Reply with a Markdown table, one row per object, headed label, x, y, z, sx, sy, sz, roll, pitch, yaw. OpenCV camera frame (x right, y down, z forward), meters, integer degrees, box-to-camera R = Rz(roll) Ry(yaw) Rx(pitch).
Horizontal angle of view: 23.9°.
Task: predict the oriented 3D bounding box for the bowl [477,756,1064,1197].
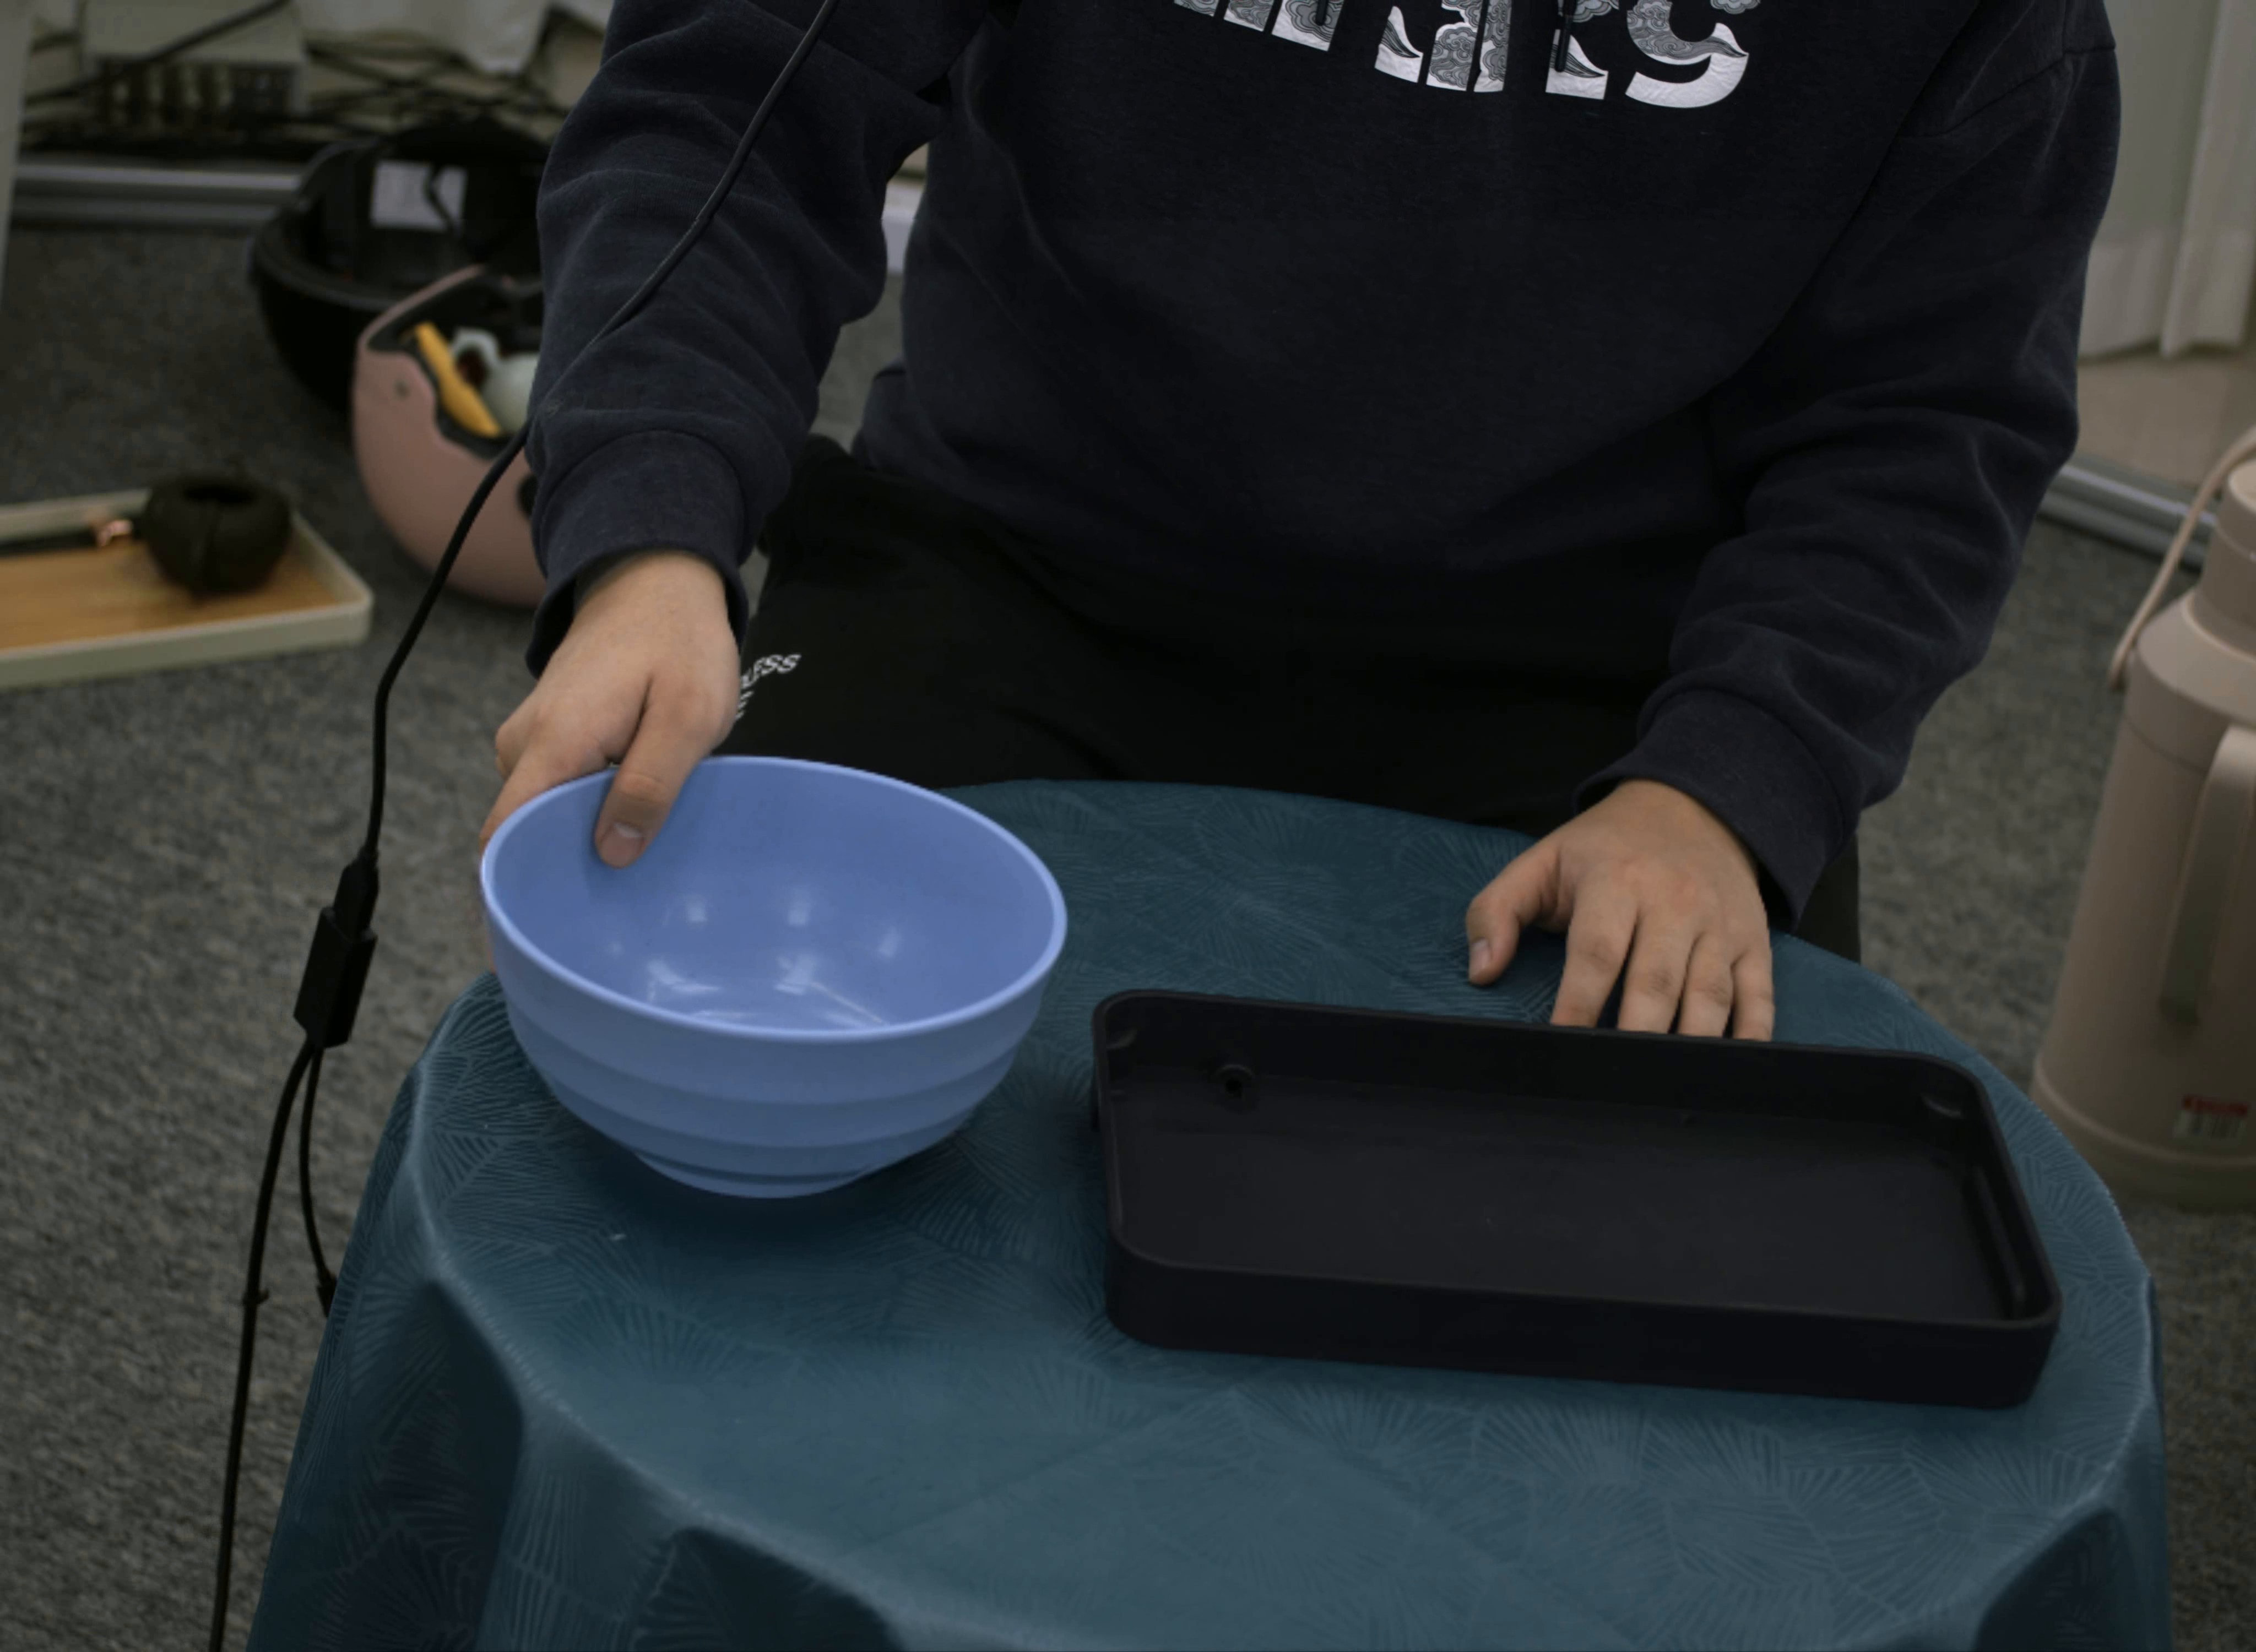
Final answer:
| label | x | y | z | sx | sy | sz | roll | pitch | yaw |
| --- | --- | --- | --- | --- | --- | --- | --- | --- | --- |
| bowl | -0.123 | 0.061 | 1.794 | 0.196 | 0.095 | 0.197 | 4 | 27 | -2 |

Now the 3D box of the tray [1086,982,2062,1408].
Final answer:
| label | x | y | z | sx | sy | sz | roll | pitch | yaw |
| --- | --- | --- | --- | --- | --- | --- | --- | --- | --- |
| tray | 0.144 | 0.123 | 1.799 | 0.317 | 0.037 | 0.185 | 5 | 27 | -5 |
